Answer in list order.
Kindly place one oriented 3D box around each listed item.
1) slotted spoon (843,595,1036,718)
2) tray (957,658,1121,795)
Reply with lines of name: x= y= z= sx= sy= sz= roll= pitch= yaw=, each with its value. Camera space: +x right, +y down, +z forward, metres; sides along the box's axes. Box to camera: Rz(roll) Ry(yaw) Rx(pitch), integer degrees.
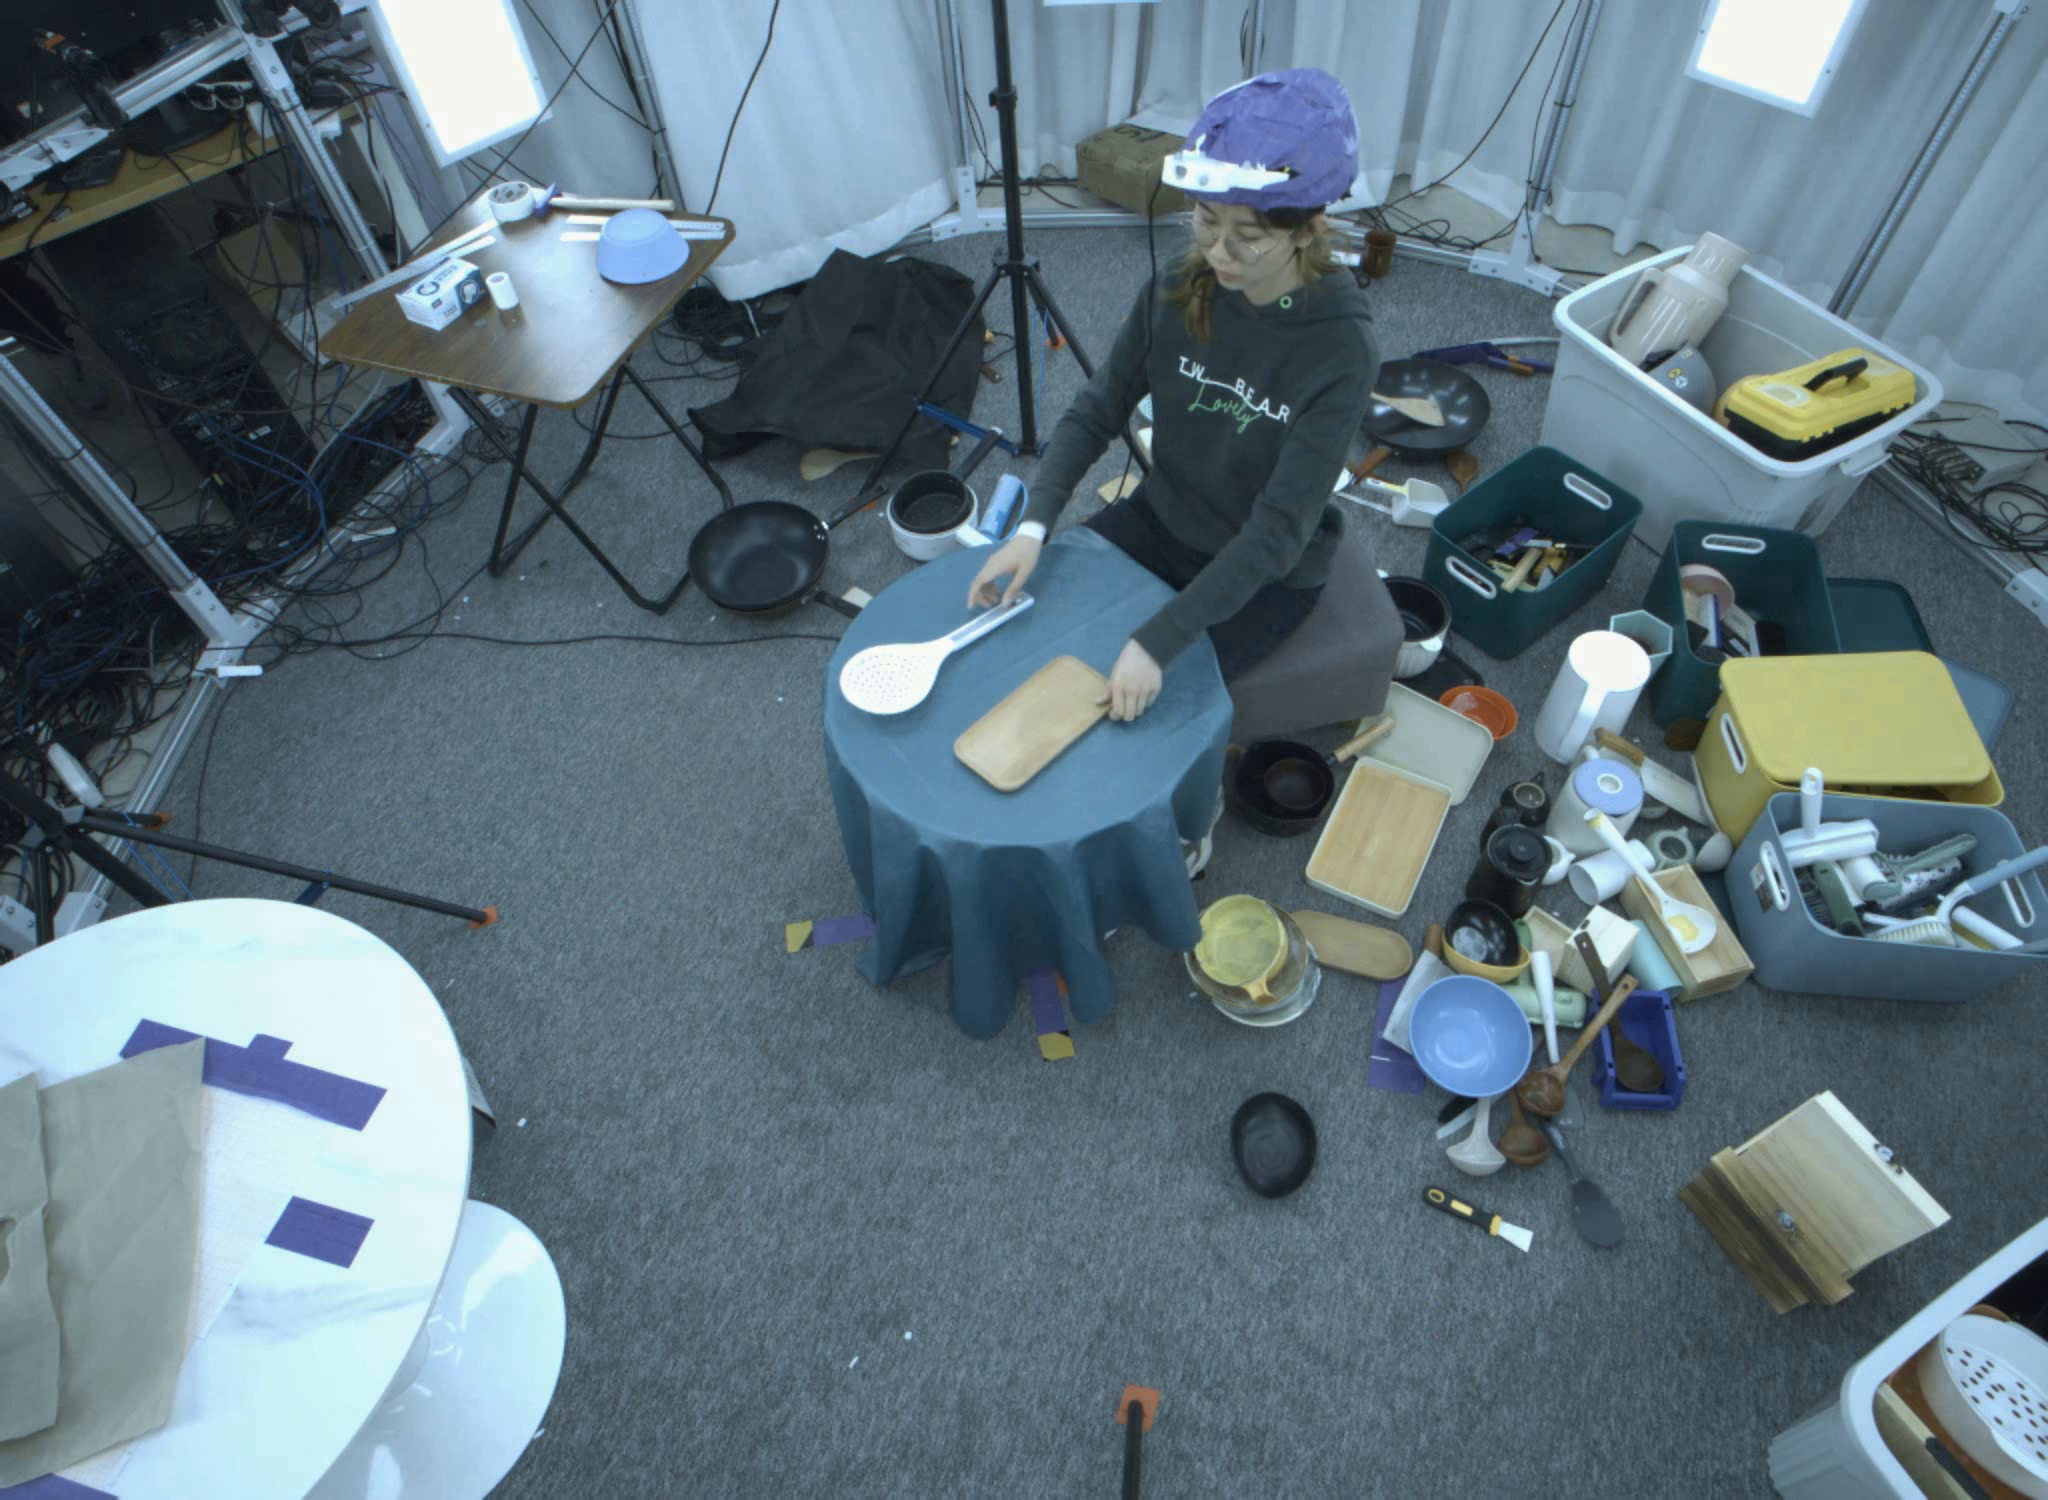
slotted spoon: x=-0.121 y=-0.152 z=1.880 sx=0.352 sy=0.046 sz=0.134 roll=-36 pitch=63 yaw=-22
tray: x=0.024 y=-0.037 z=1.813 sx=0.128 sy=0.023 sz=0.252 roll=39 pitch=64 yaw=23
